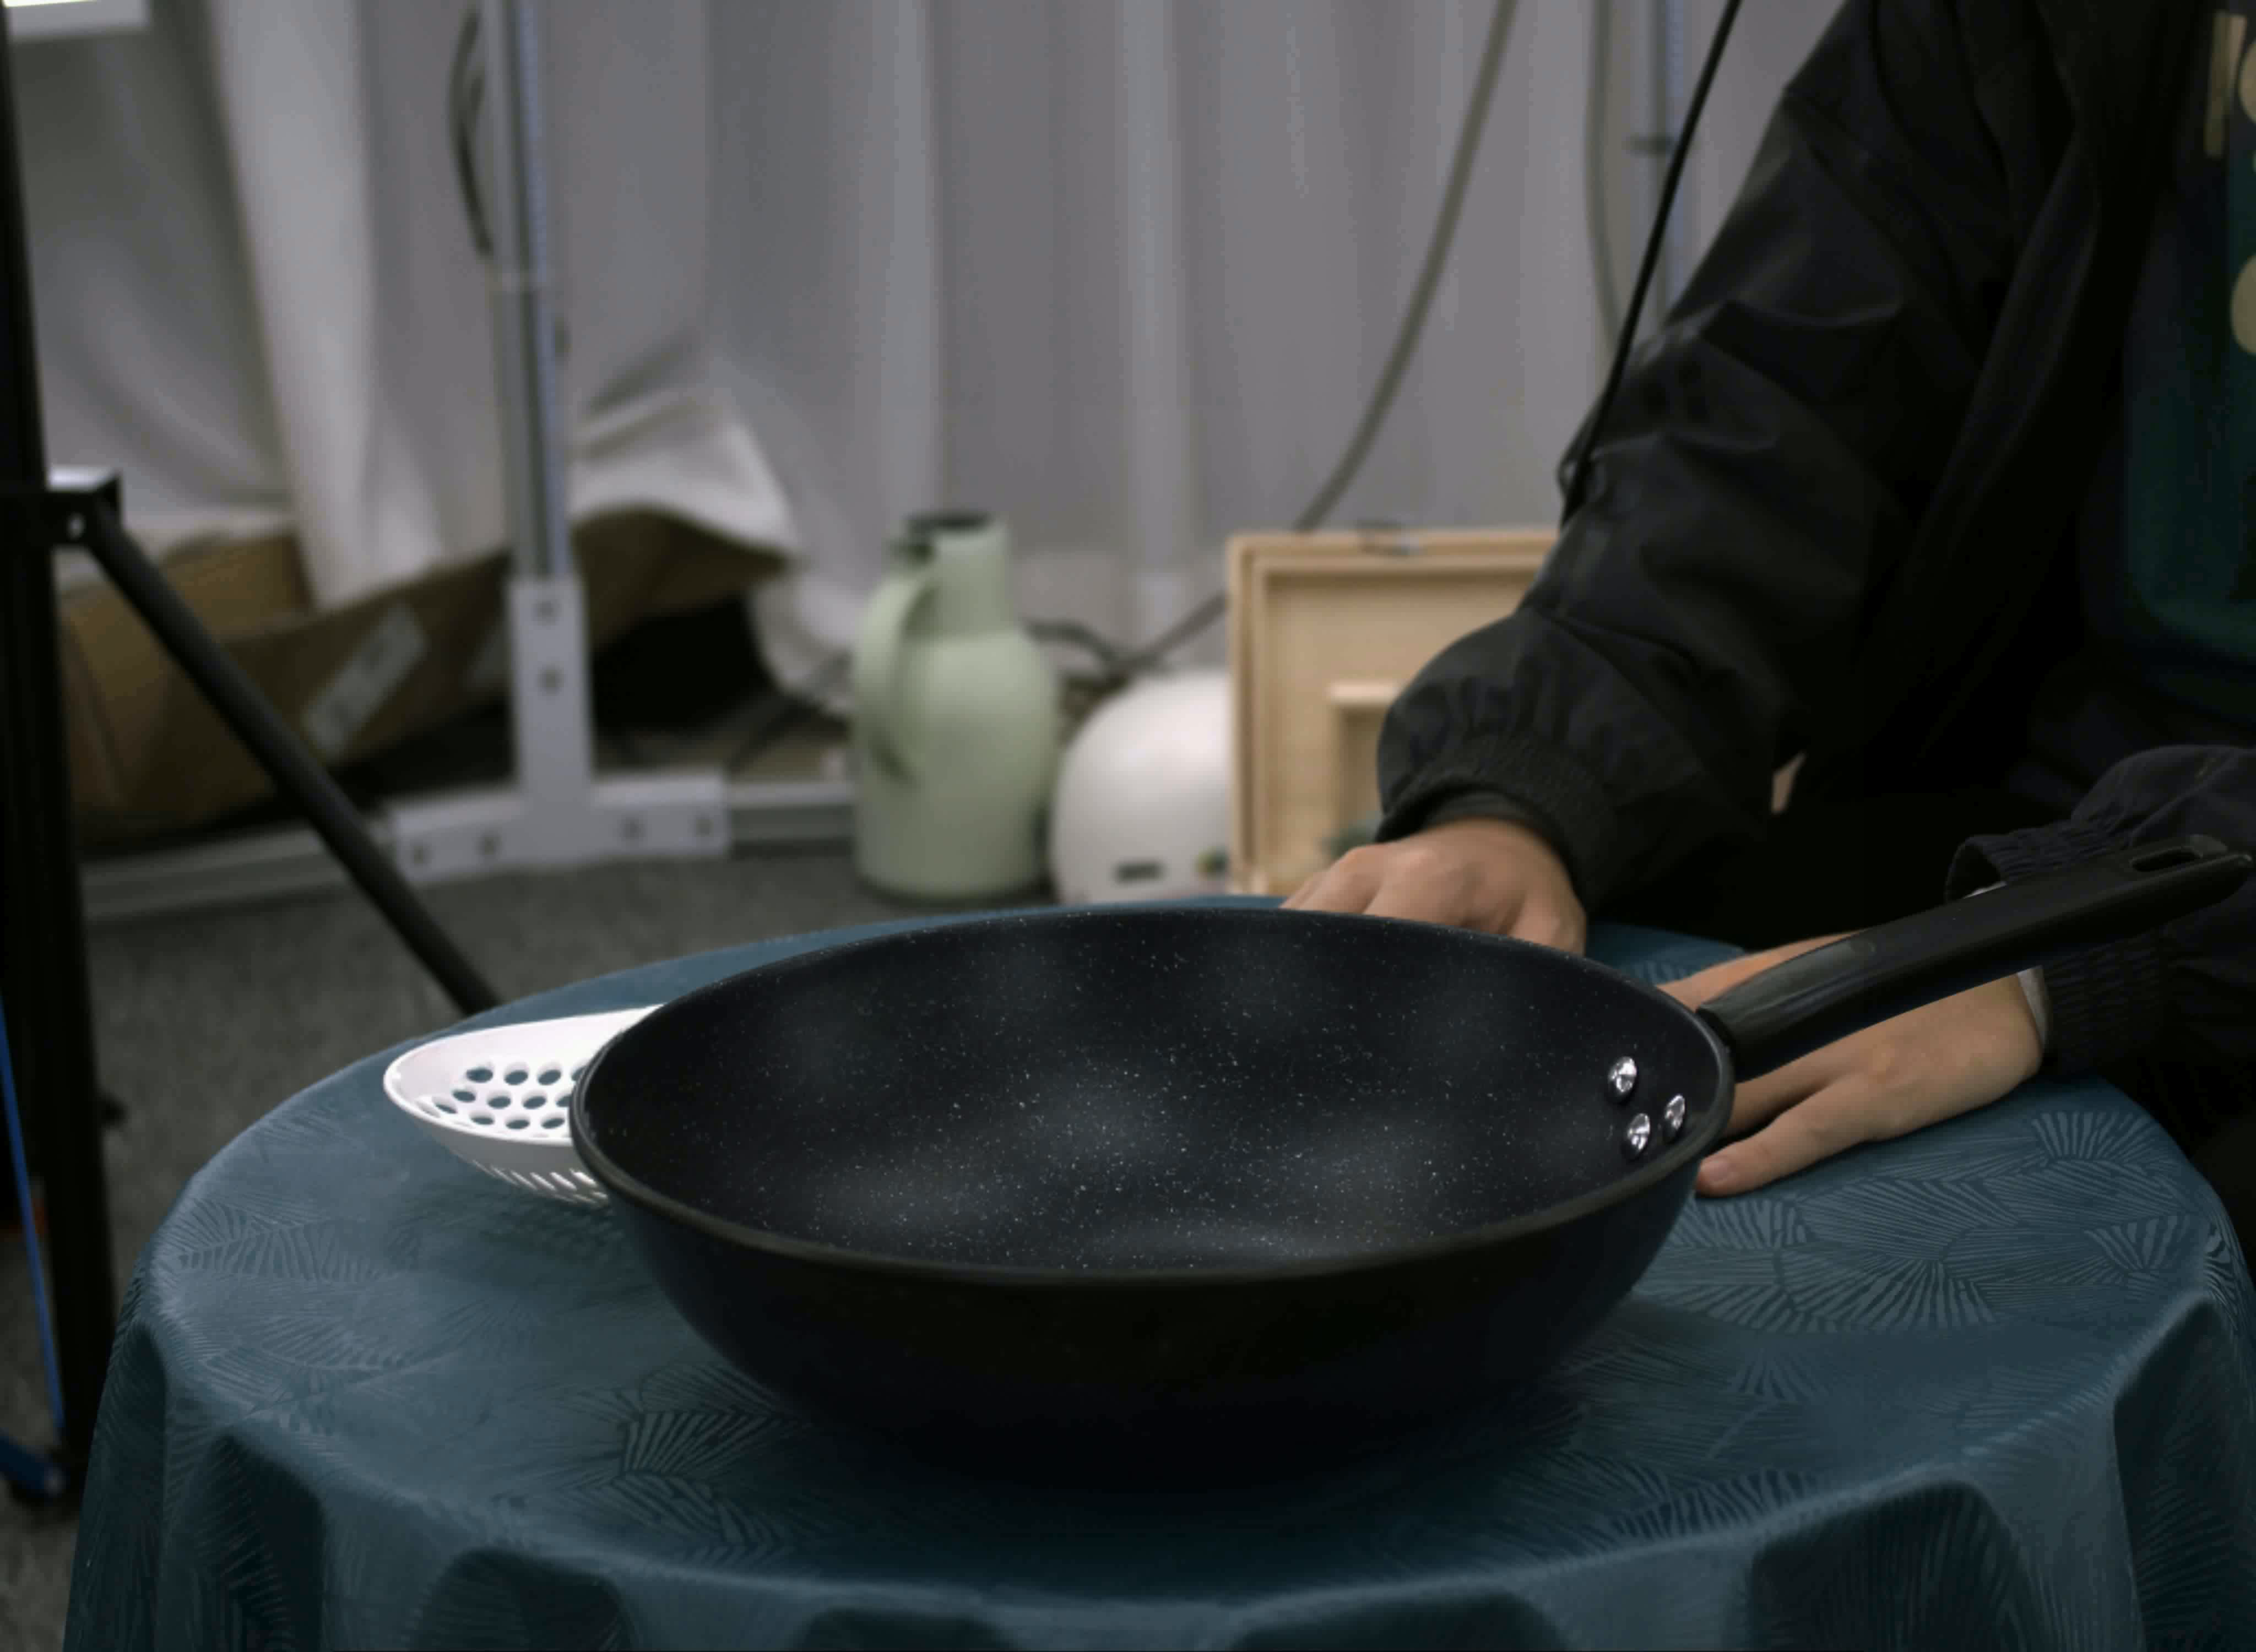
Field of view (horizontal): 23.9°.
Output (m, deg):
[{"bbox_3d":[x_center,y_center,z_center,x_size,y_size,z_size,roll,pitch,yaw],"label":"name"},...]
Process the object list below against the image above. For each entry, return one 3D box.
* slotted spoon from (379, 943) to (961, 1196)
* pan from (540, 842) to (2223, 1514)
[{"bbox_3d":[-0.086,0.062,1.658,0.139,0.050,0.340,7,18,37],"label":"slotted spoon"},{"bbox_3d":[0.080,0.088,1.425,0.469,0.111,0.315,-7,18,-15],"label":"pan"}]
